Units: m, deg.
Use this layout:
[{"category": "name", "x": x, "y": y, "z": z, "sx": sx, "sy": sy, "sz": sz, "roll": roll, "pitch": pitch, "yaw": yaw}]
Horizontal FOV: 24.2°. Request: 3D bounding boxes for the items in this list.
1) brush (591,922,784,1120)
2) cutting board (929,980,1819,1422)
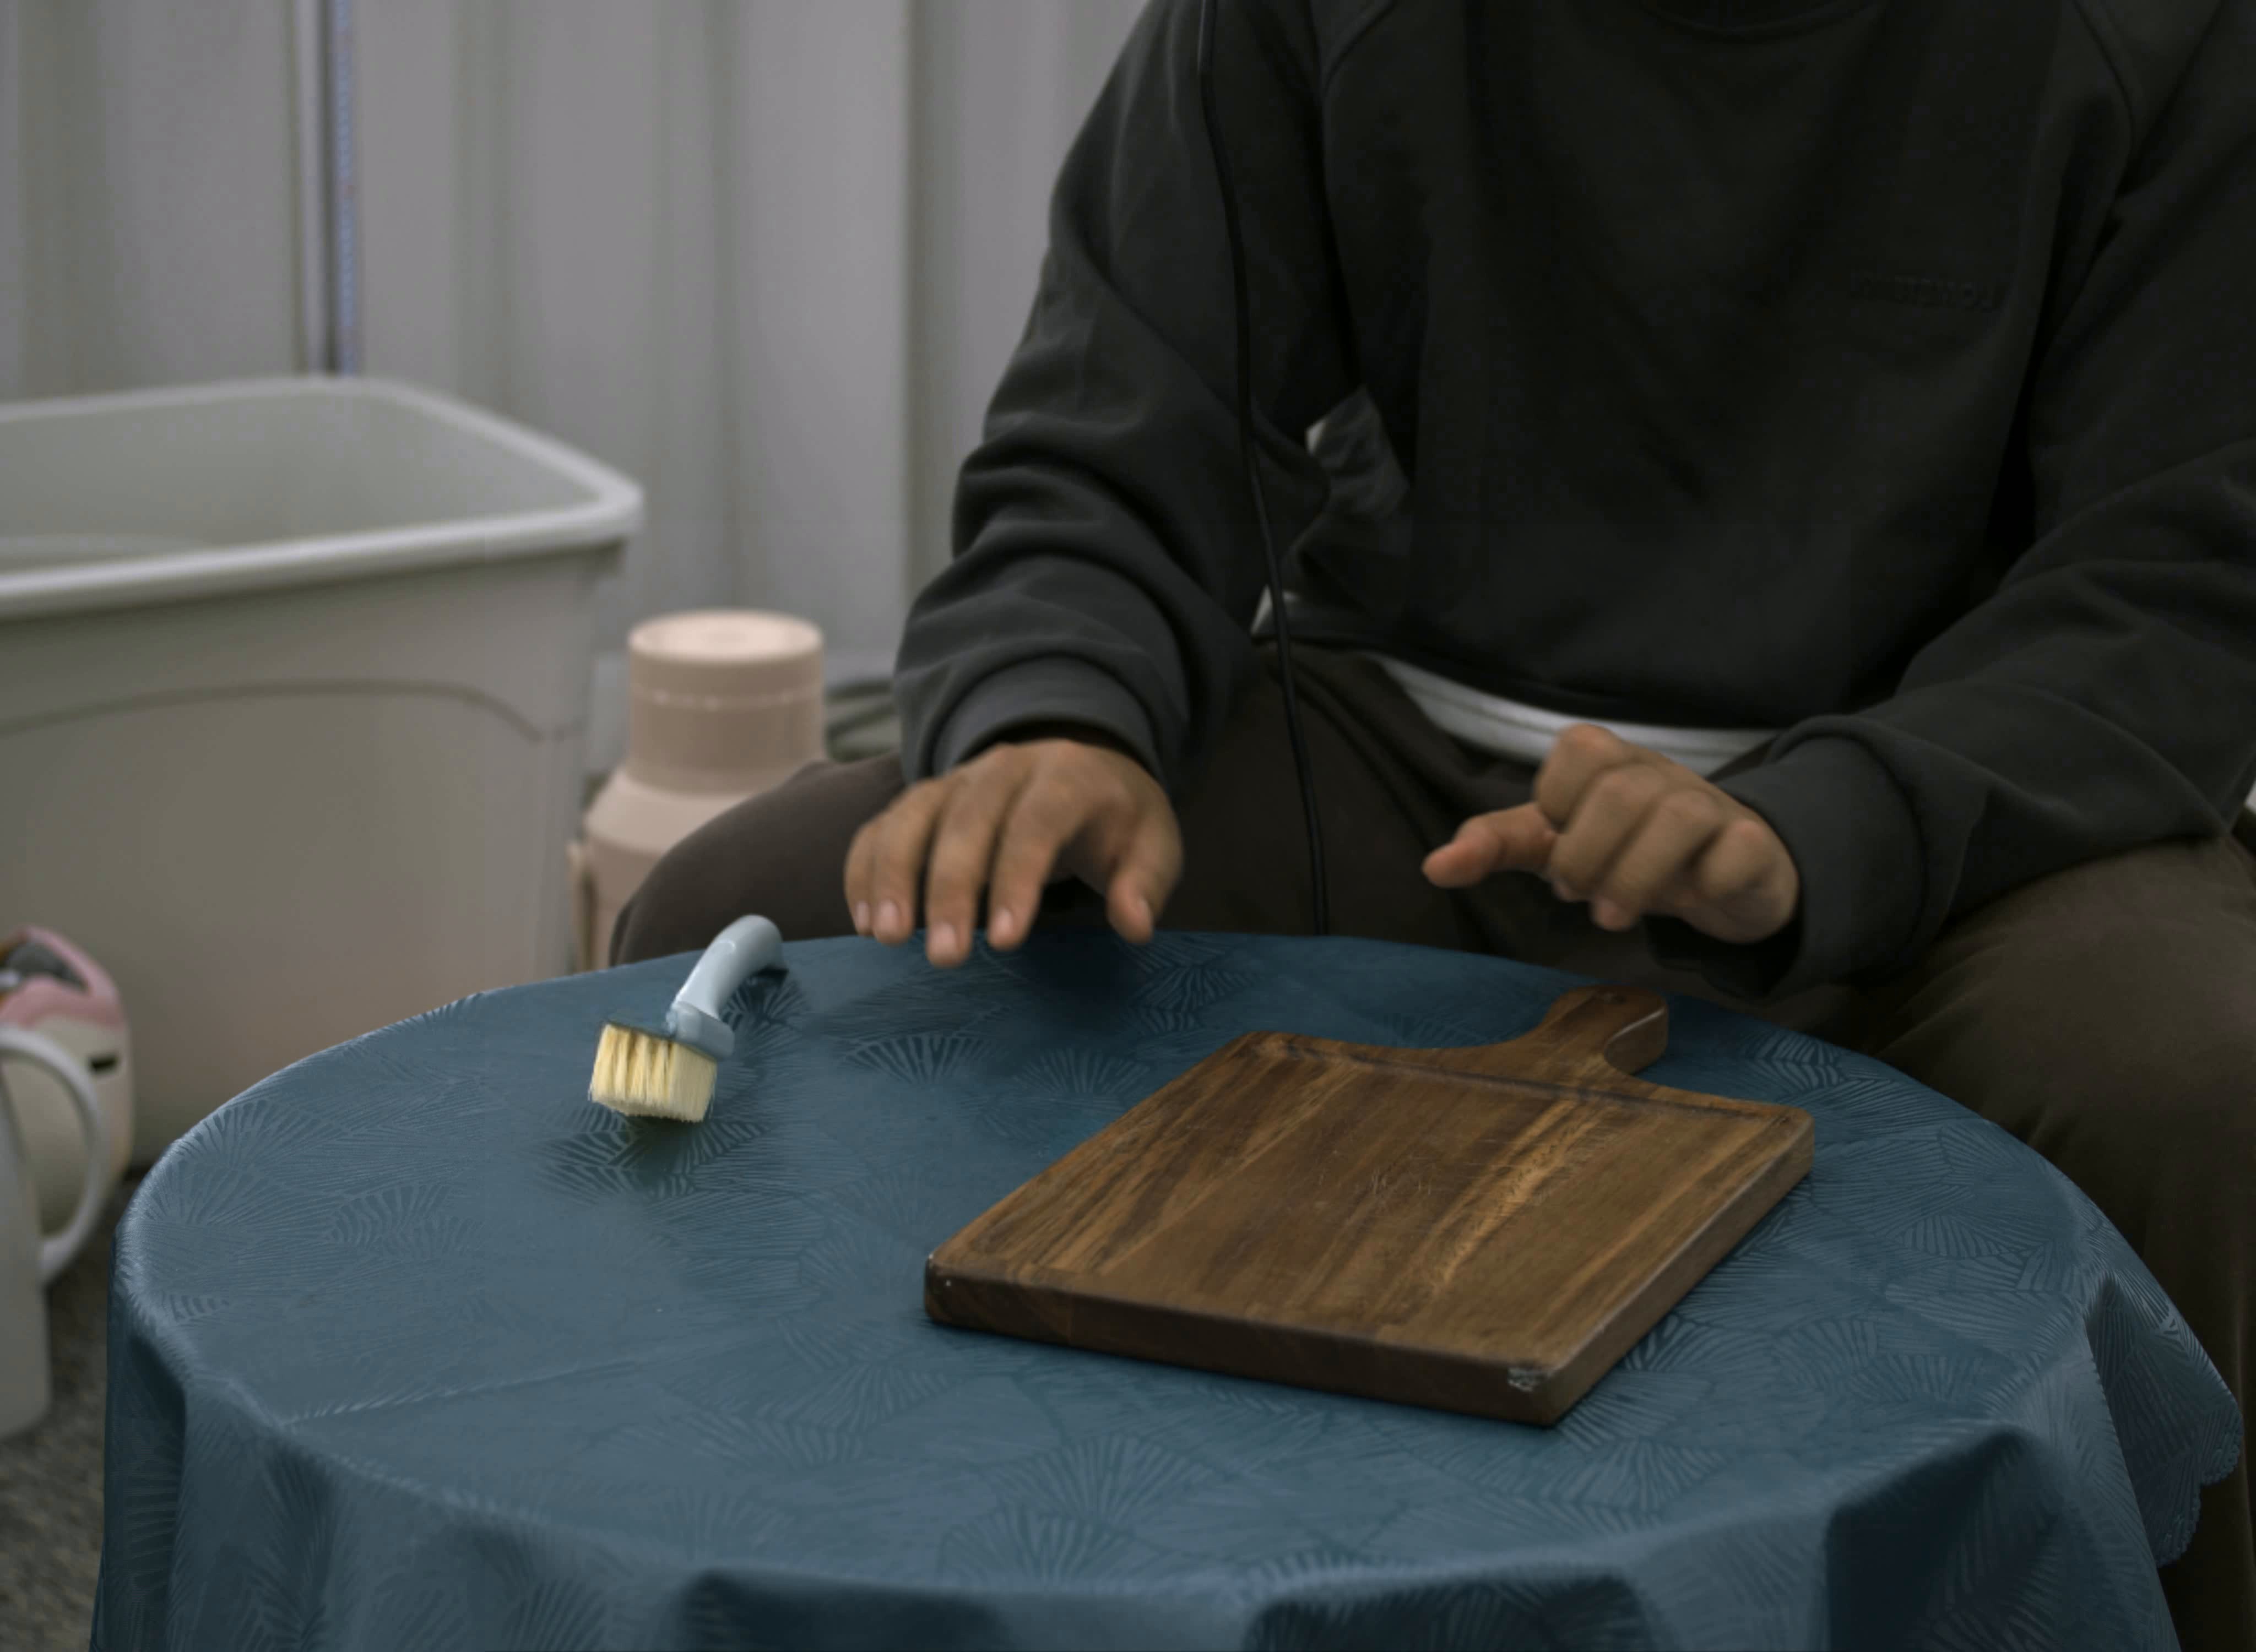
[{"category": "brush", "x": -0.142, "y": 0.065, "z": 1.734, "sx": 0.037, "sy": 0.050, "sz": 0.228, "roll": 8, "pitch": 7, "yaw": 4}, {"category": "cutting board", "x": 0.100, "y": 0.103, "z": 1.626, "sx": 0.199, "sy": 0.023, "sz": 0.353, "roll": 8, "pitch": 17, "yaw": 23}]
